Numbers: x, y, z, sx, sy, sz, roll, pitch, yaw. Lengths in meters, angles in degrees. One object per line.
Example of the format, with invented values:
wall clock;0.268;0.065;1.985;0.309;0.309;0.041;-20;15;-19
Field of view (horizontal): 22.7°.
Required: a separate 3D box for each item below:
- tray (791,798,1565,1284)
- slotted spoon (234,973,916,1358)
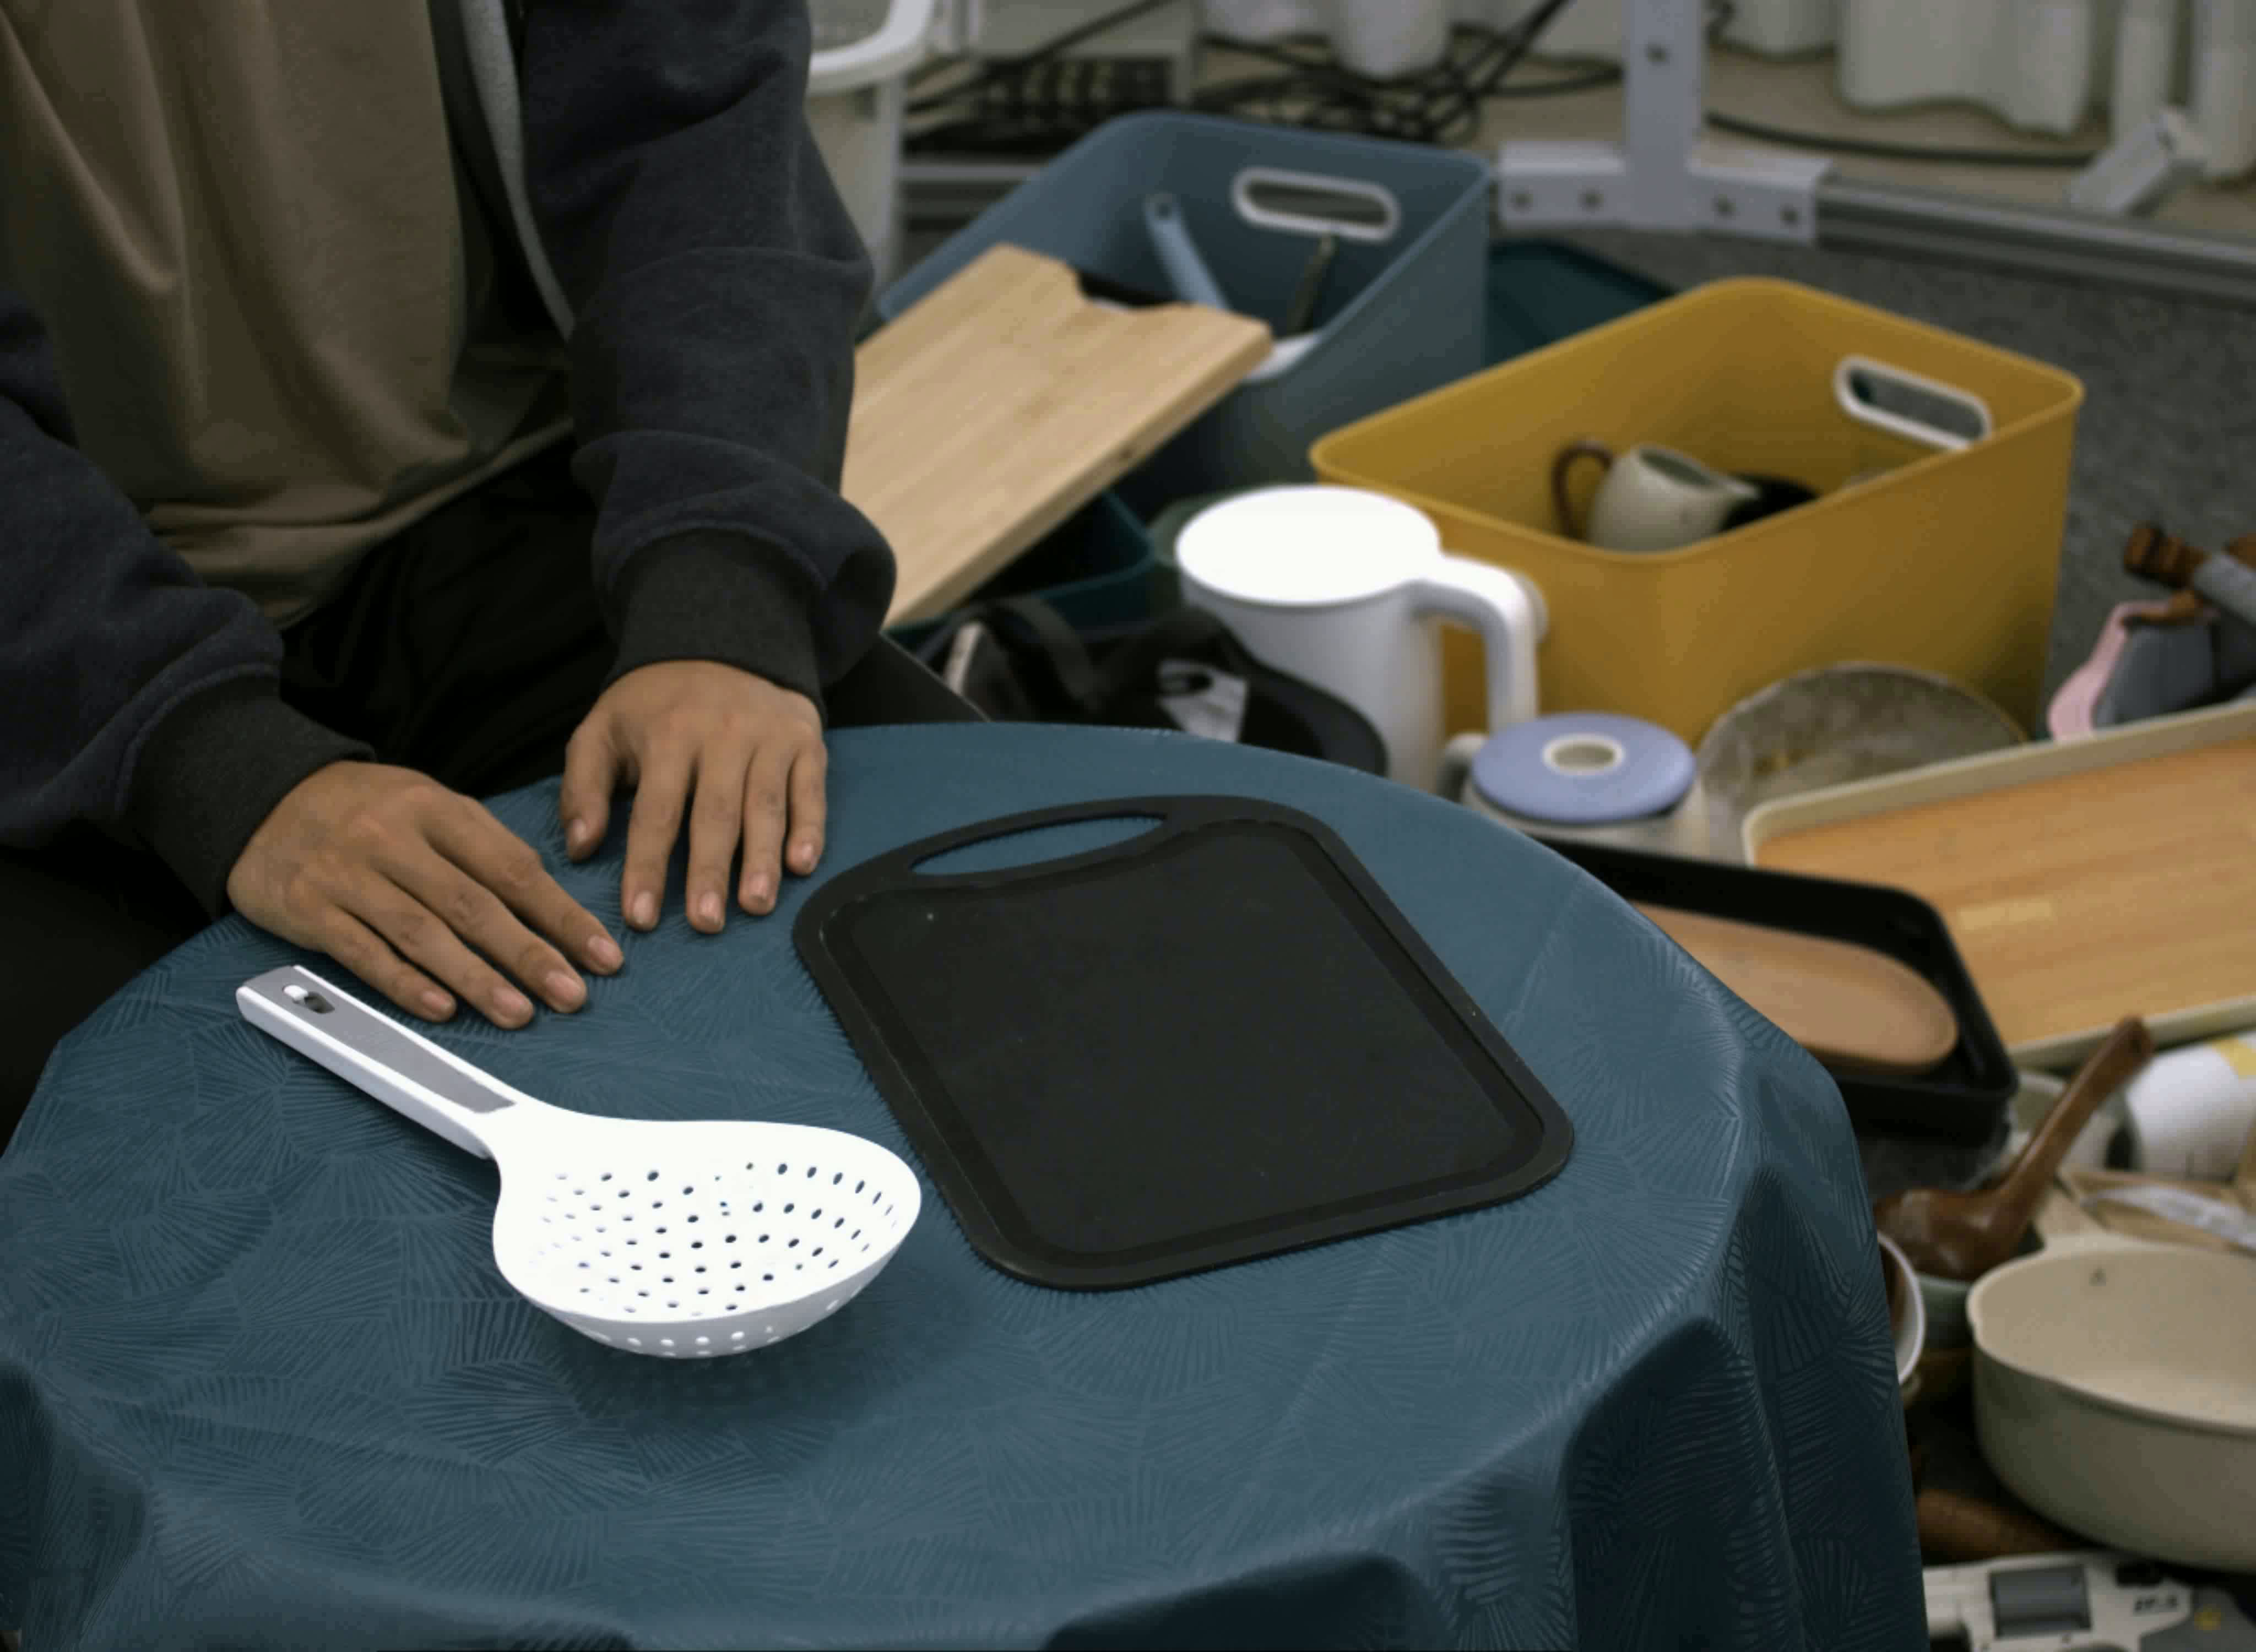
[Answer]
tray;0.008;0.066;1.963;0.211;0.009;0.328;-11;28;-15
slotted spoon;-0.201;0.105;1.865;0.137;0.045;0.350;-20;31;-34
